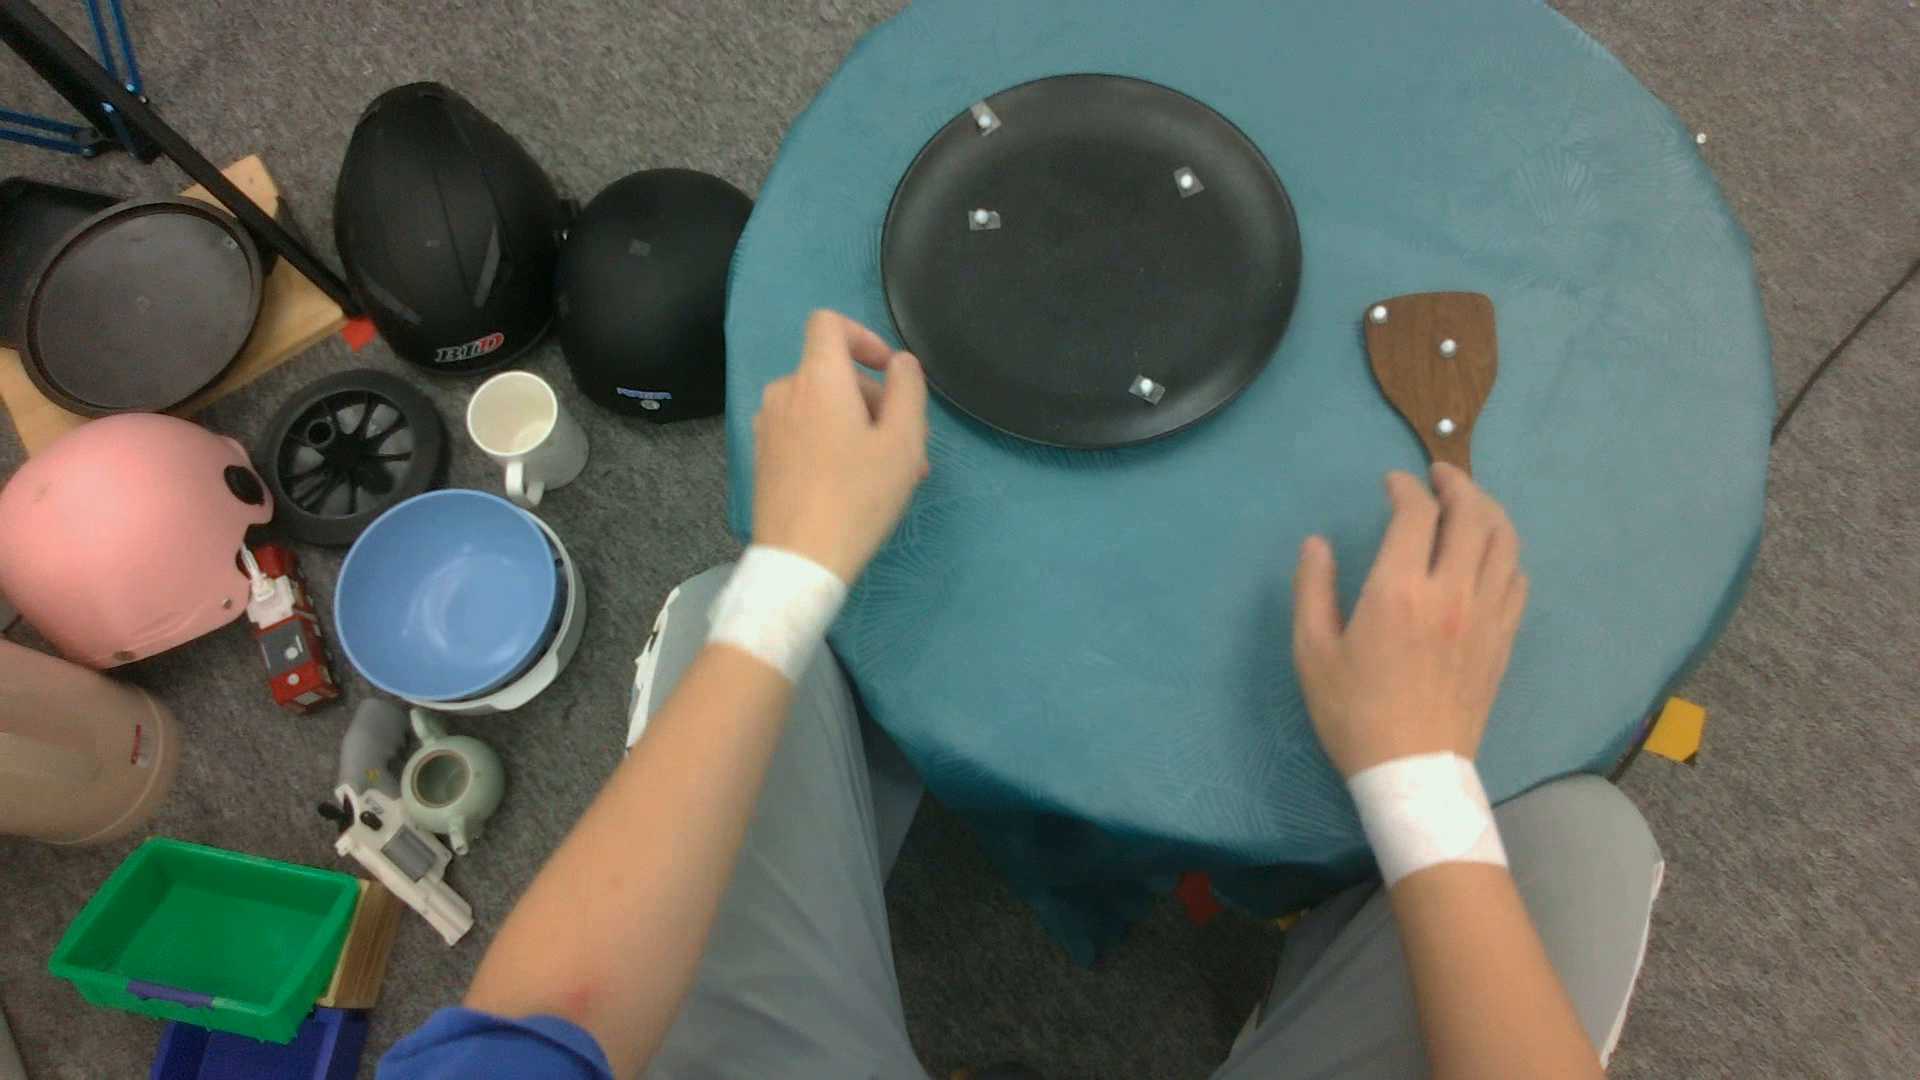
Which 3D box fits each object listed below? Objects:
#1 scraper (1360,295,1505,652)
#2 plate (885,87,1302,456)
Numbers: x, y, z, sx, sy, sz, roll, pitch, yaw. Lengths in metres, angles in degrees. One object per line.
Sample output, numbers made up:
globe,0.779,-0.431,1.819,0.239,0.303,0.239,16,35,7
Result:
scraper,0.274,-0.040,0.771,0.076,0.011,0.212,-3,72,3
plate,0.077,-0.160,0.815,0.244,0.023,0.245,-1,71,3
